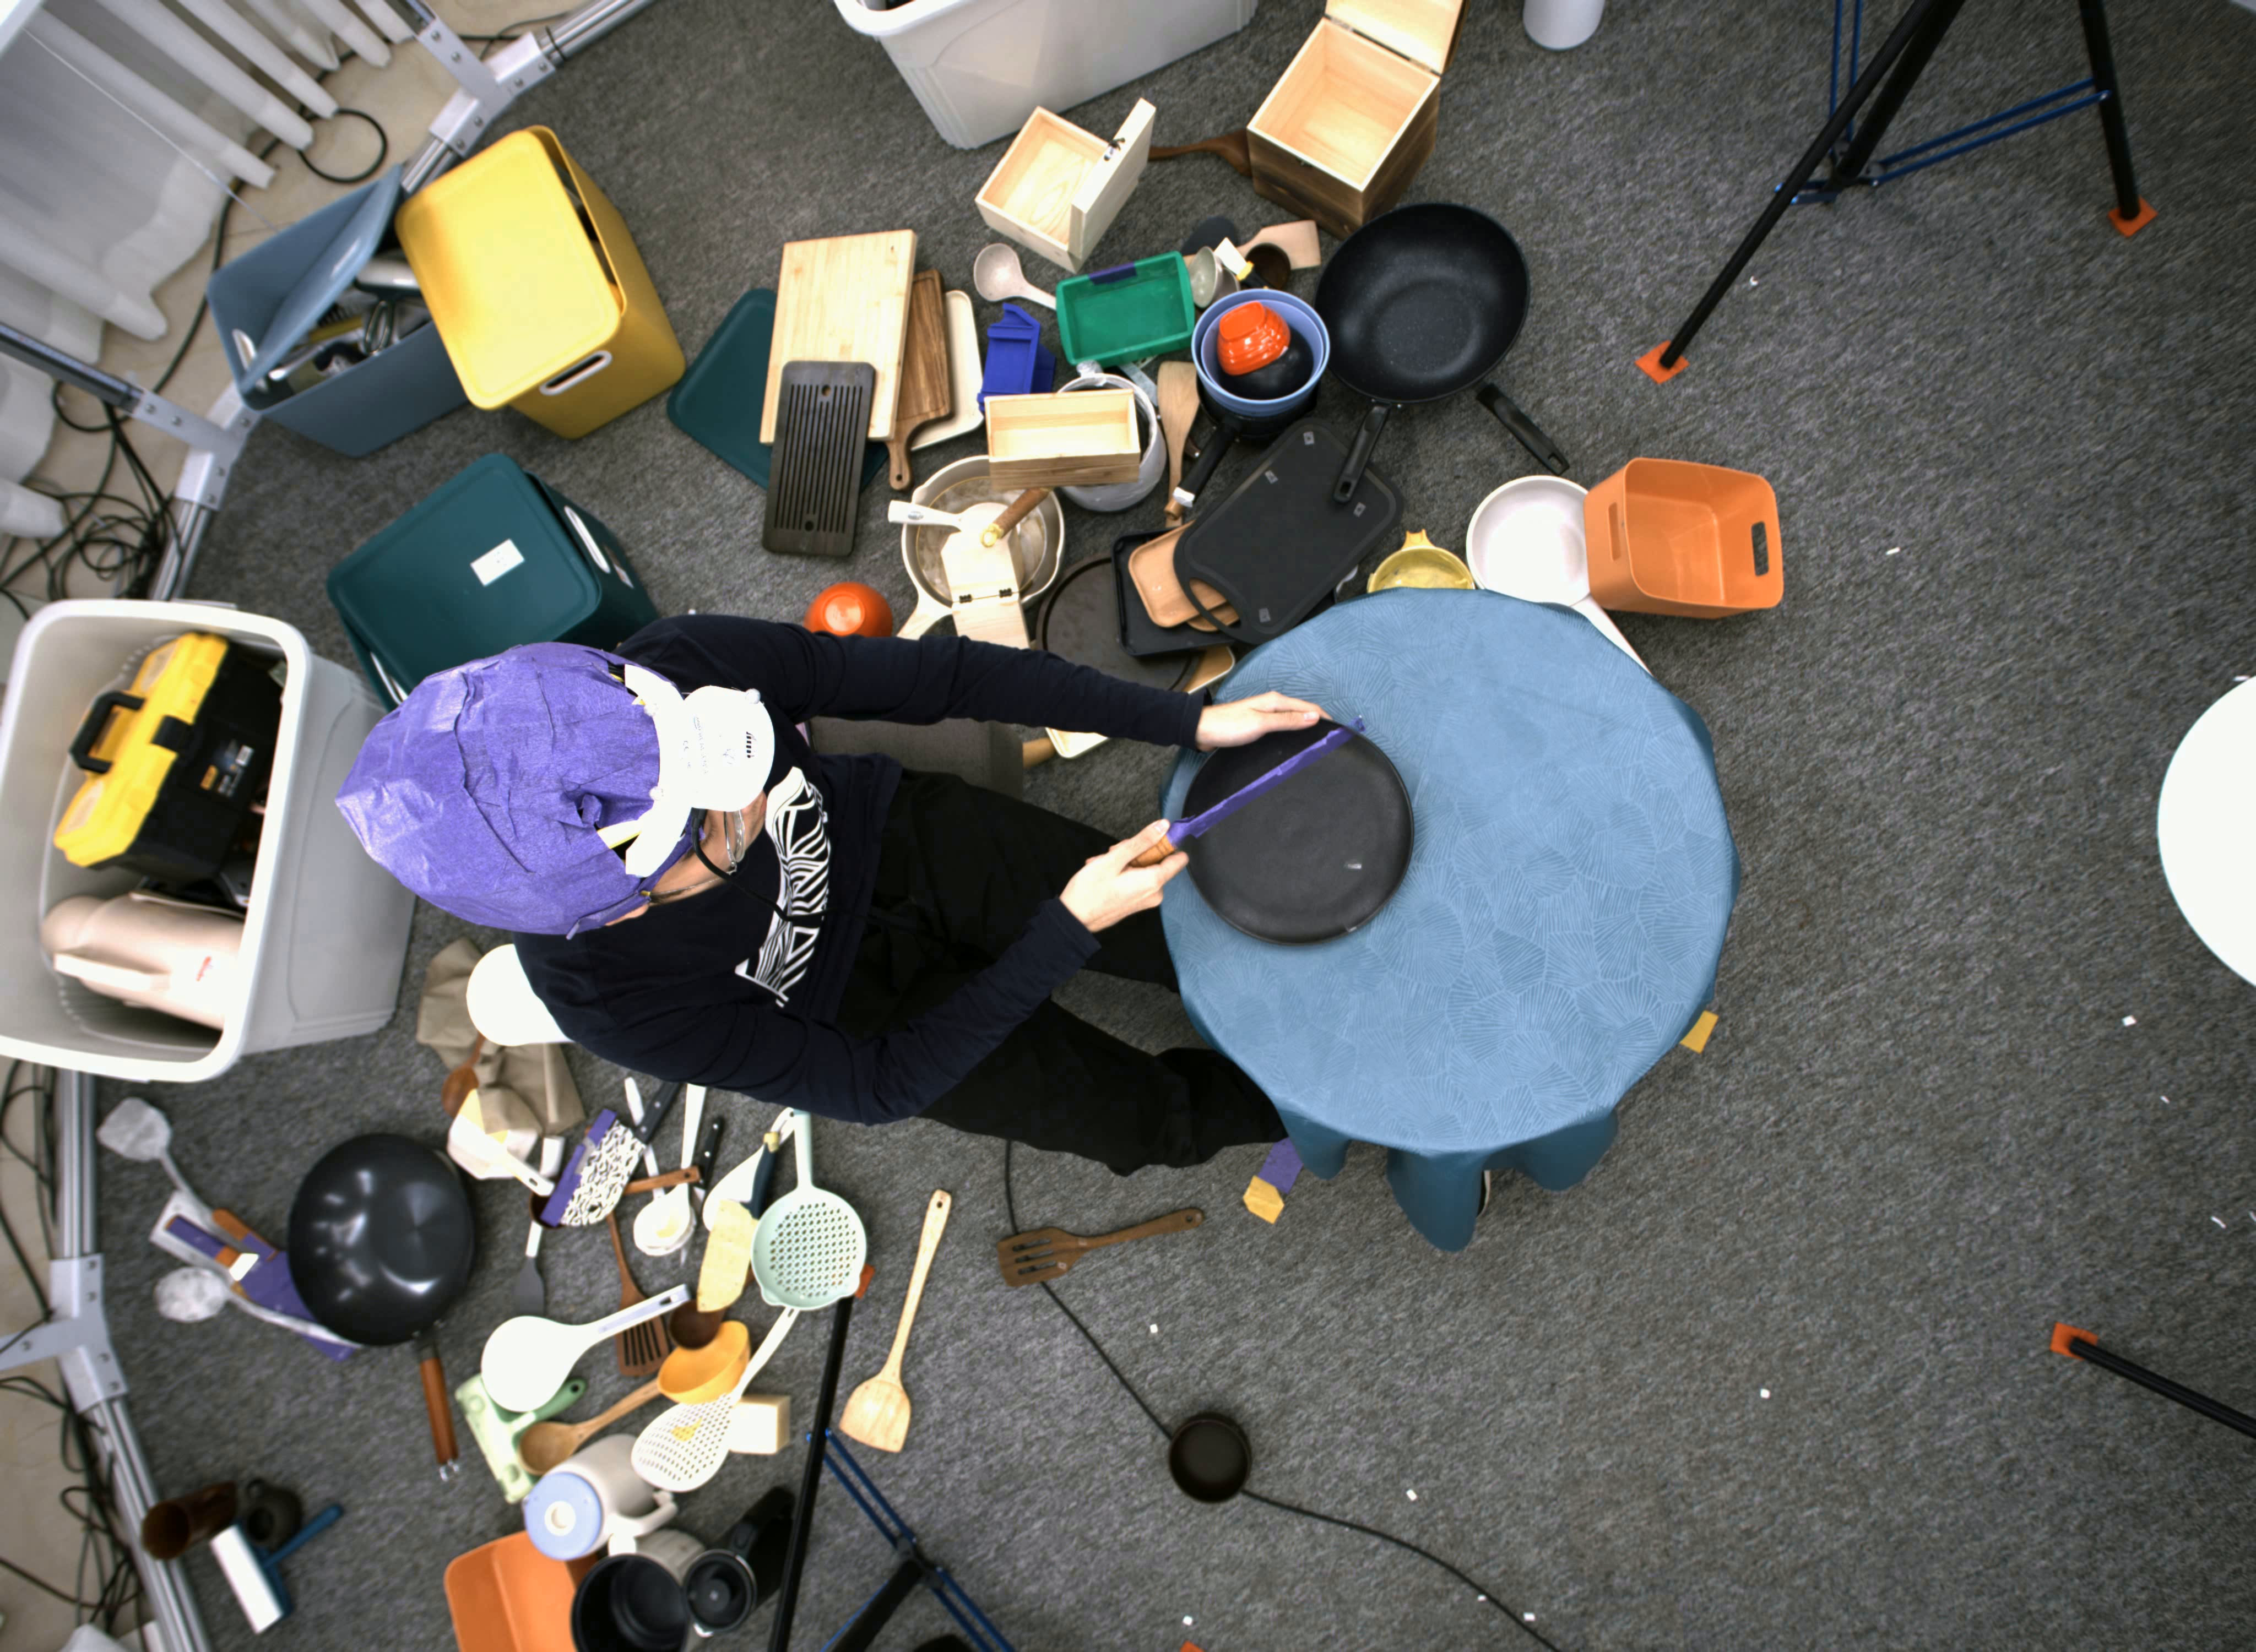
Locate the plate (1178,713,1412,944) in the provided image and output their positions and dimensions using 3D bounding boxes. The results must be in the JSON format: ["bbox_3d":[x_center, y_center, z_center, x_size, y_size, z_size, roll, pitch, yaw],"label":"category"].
[{"bbox_3d":[0.174,0.002,1.451,0.245,0.023,0.246,1,99,7],"label":"plate"}]

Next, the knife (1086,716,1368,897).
[{"bbox_3d":[0.104,-0.018,1.382,0.318,0.104,0.032,-31,80,11],"label":"knife"}]
